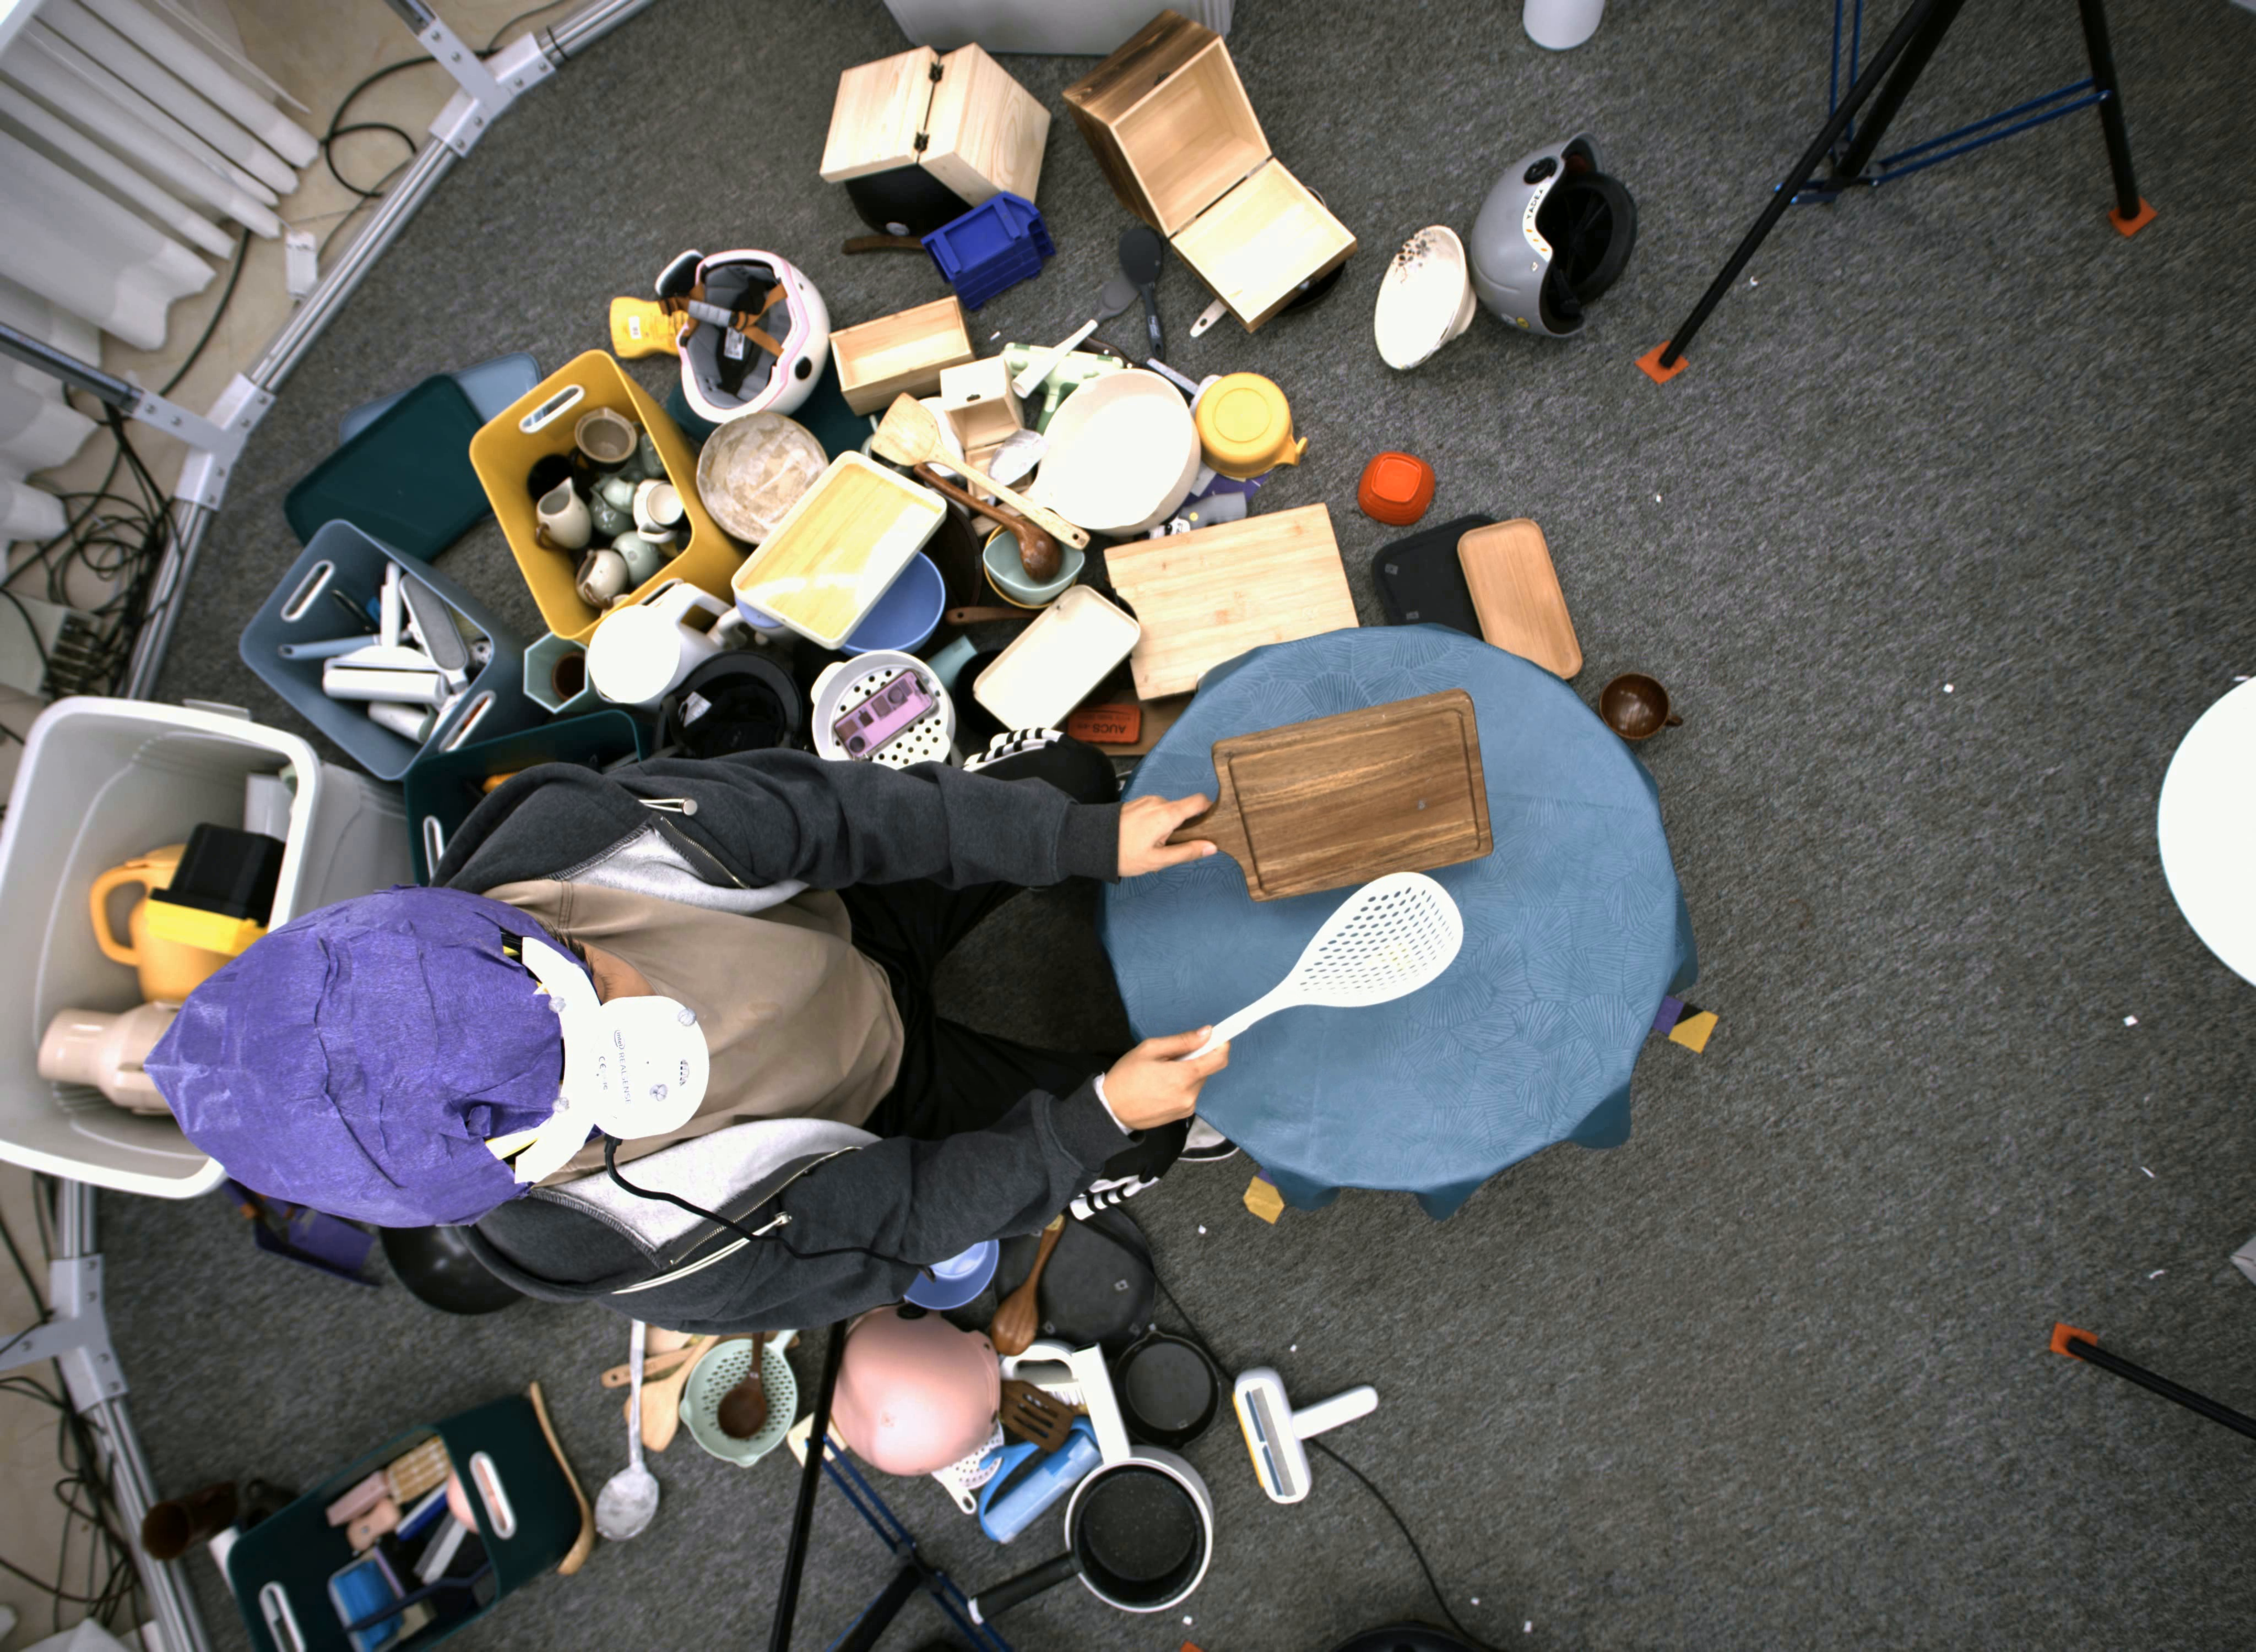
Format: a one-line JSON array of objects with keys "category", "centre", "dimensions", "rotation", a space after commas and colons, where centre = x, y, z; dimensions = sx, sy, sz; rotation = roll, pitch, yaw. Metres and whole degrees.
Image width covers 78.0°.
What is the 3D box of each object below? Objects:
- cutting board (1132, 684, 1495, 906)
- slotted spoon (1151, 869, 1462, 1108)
[{"category": "cutting board", "centre": [0.174, -0.016, 1.357], "dimensions": [0.354, 0.022, 0.205], "rotation": [-13, 126, 10]}, {"category": "slotted spoon", "centre": [0.161, 0.165, 1.326], "dimensions": [0.350, 0.051, 0.134], "rotation": [-30, 45, 7]}]
